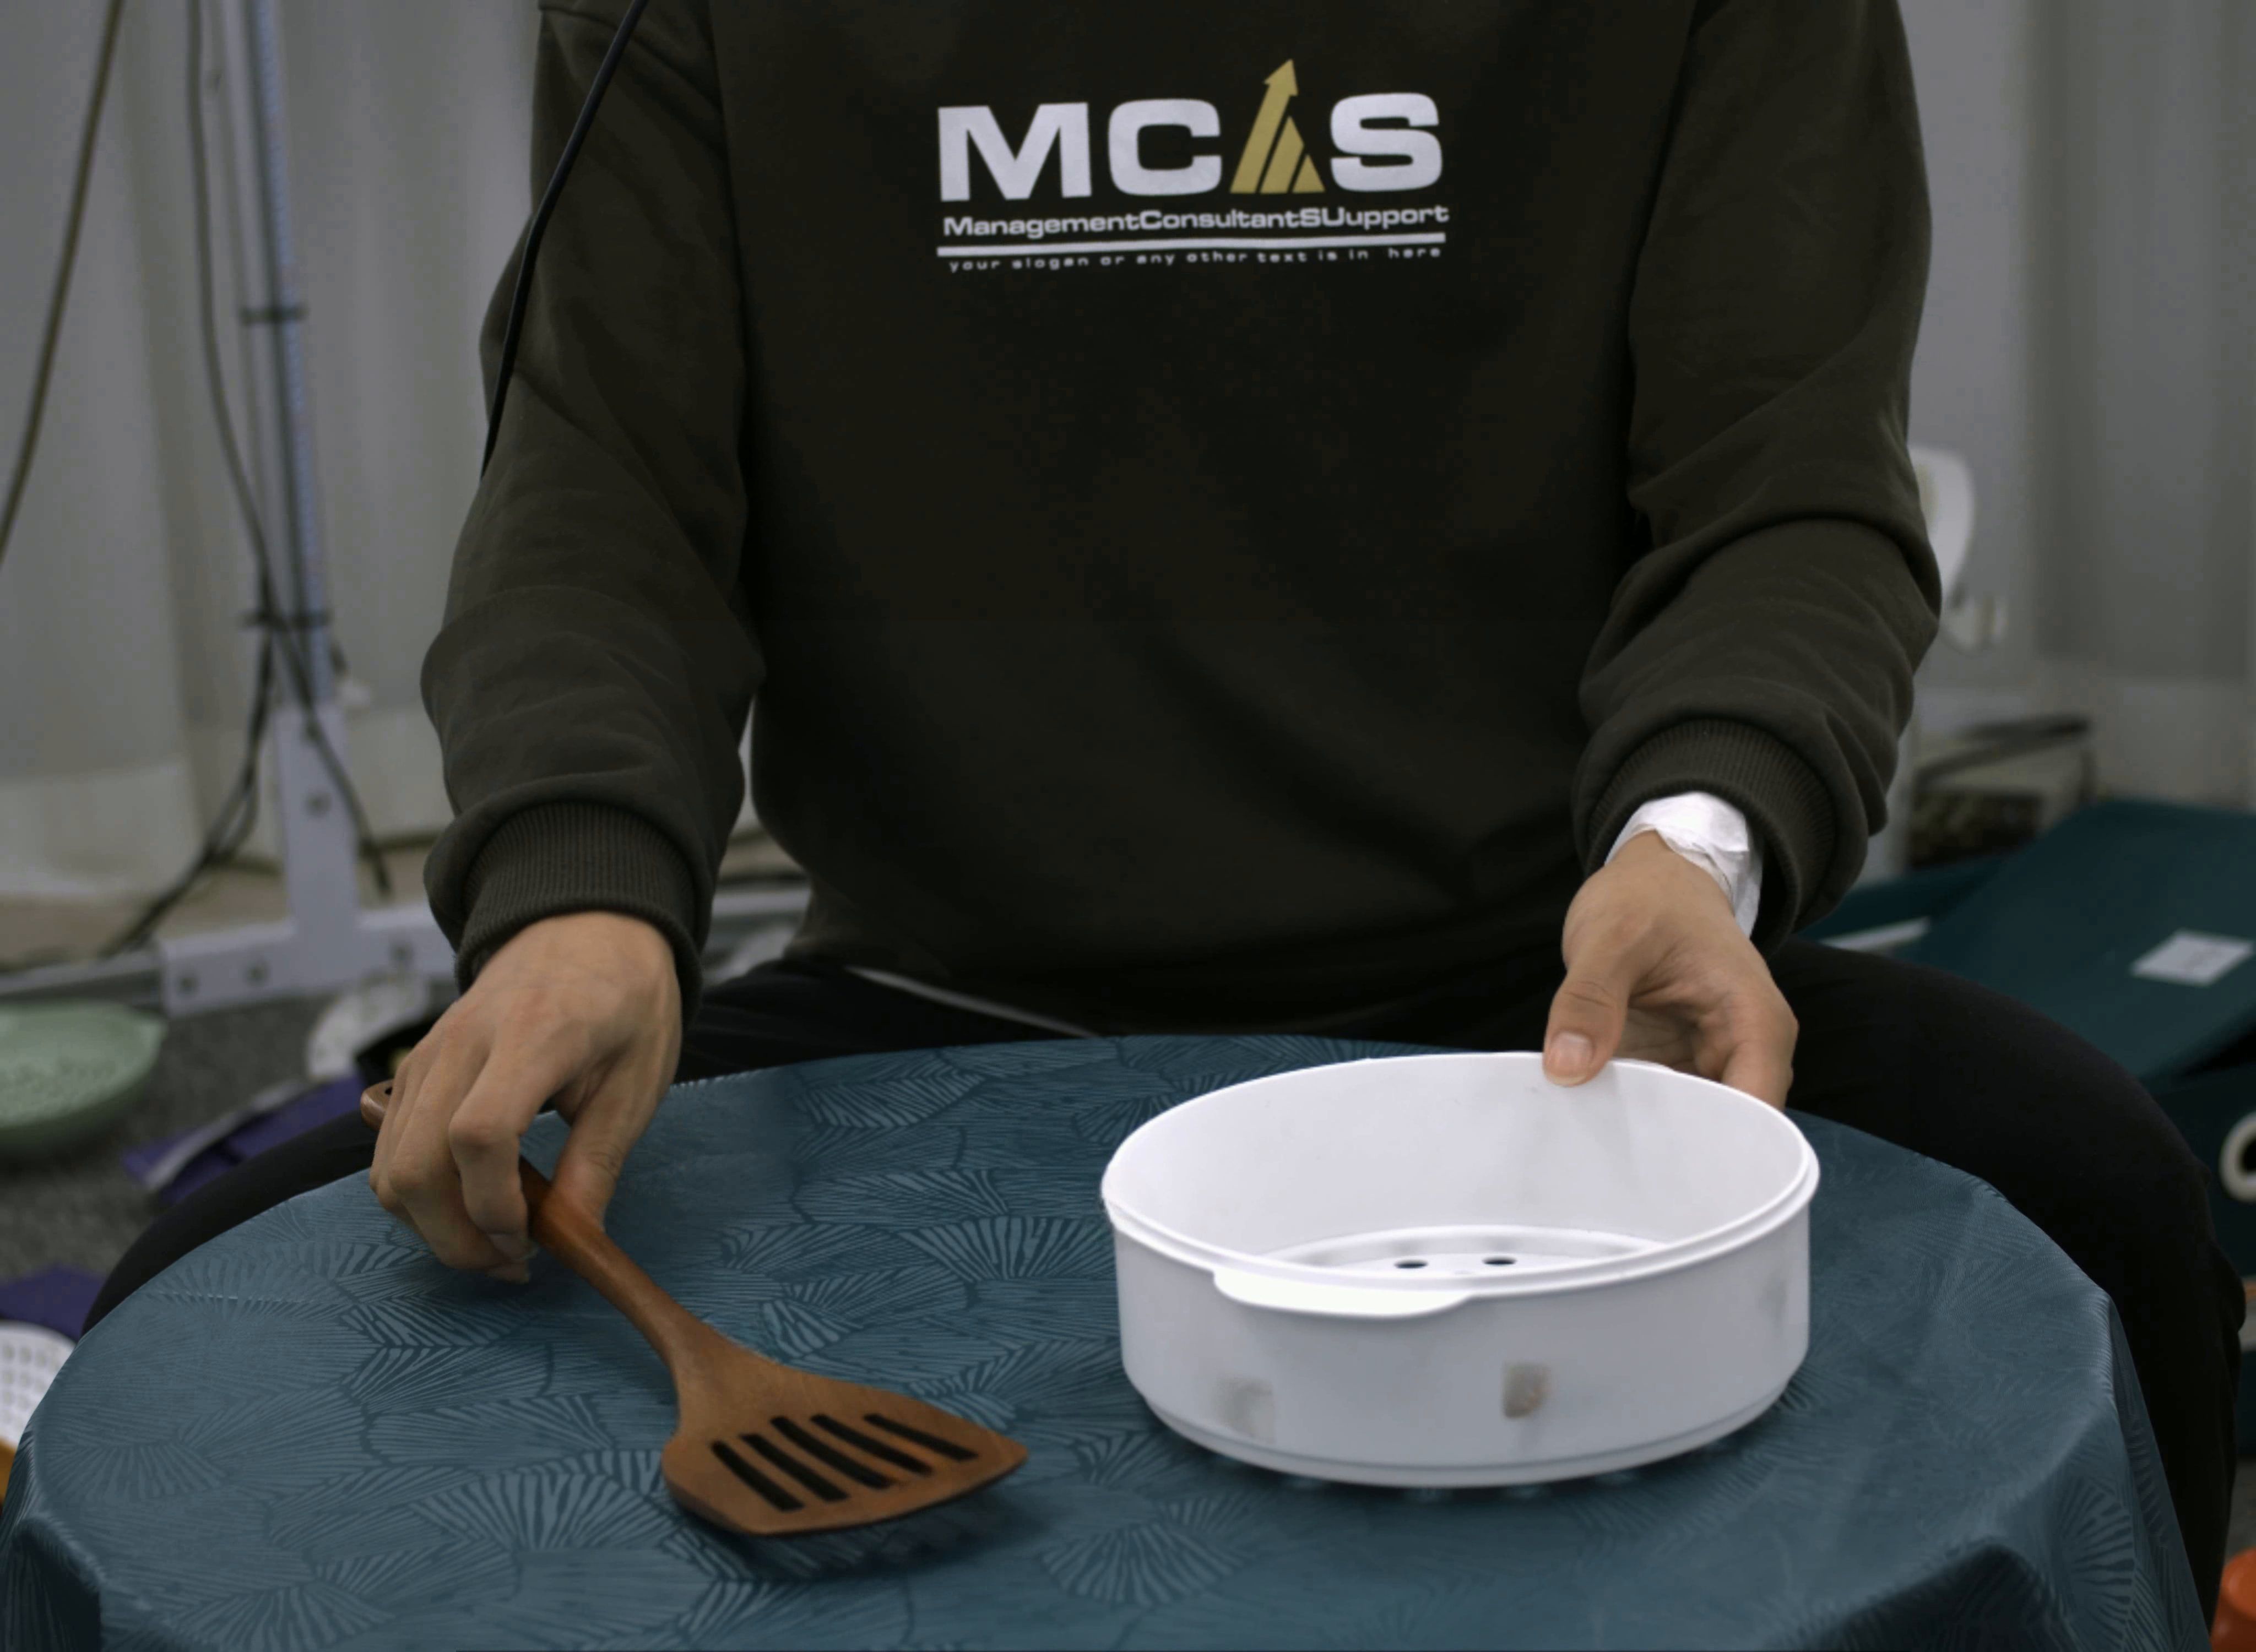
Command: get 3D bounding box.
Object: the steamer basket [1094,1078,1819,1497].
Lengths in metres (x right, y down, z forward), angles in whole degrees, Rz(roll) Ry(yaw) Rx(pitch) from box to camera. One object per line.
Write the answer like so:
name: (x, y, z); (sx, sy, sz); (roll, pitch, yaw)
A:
steamer basket: (0.091, 0.128, 1.527); (0.202, 0.069, 0.231); (6, 14, 22)

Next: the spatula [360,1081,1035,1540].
spatula: (-0.148, 0.137, 1.589); (0.085, 0.023, 0.389); (-12, 21, -26)
